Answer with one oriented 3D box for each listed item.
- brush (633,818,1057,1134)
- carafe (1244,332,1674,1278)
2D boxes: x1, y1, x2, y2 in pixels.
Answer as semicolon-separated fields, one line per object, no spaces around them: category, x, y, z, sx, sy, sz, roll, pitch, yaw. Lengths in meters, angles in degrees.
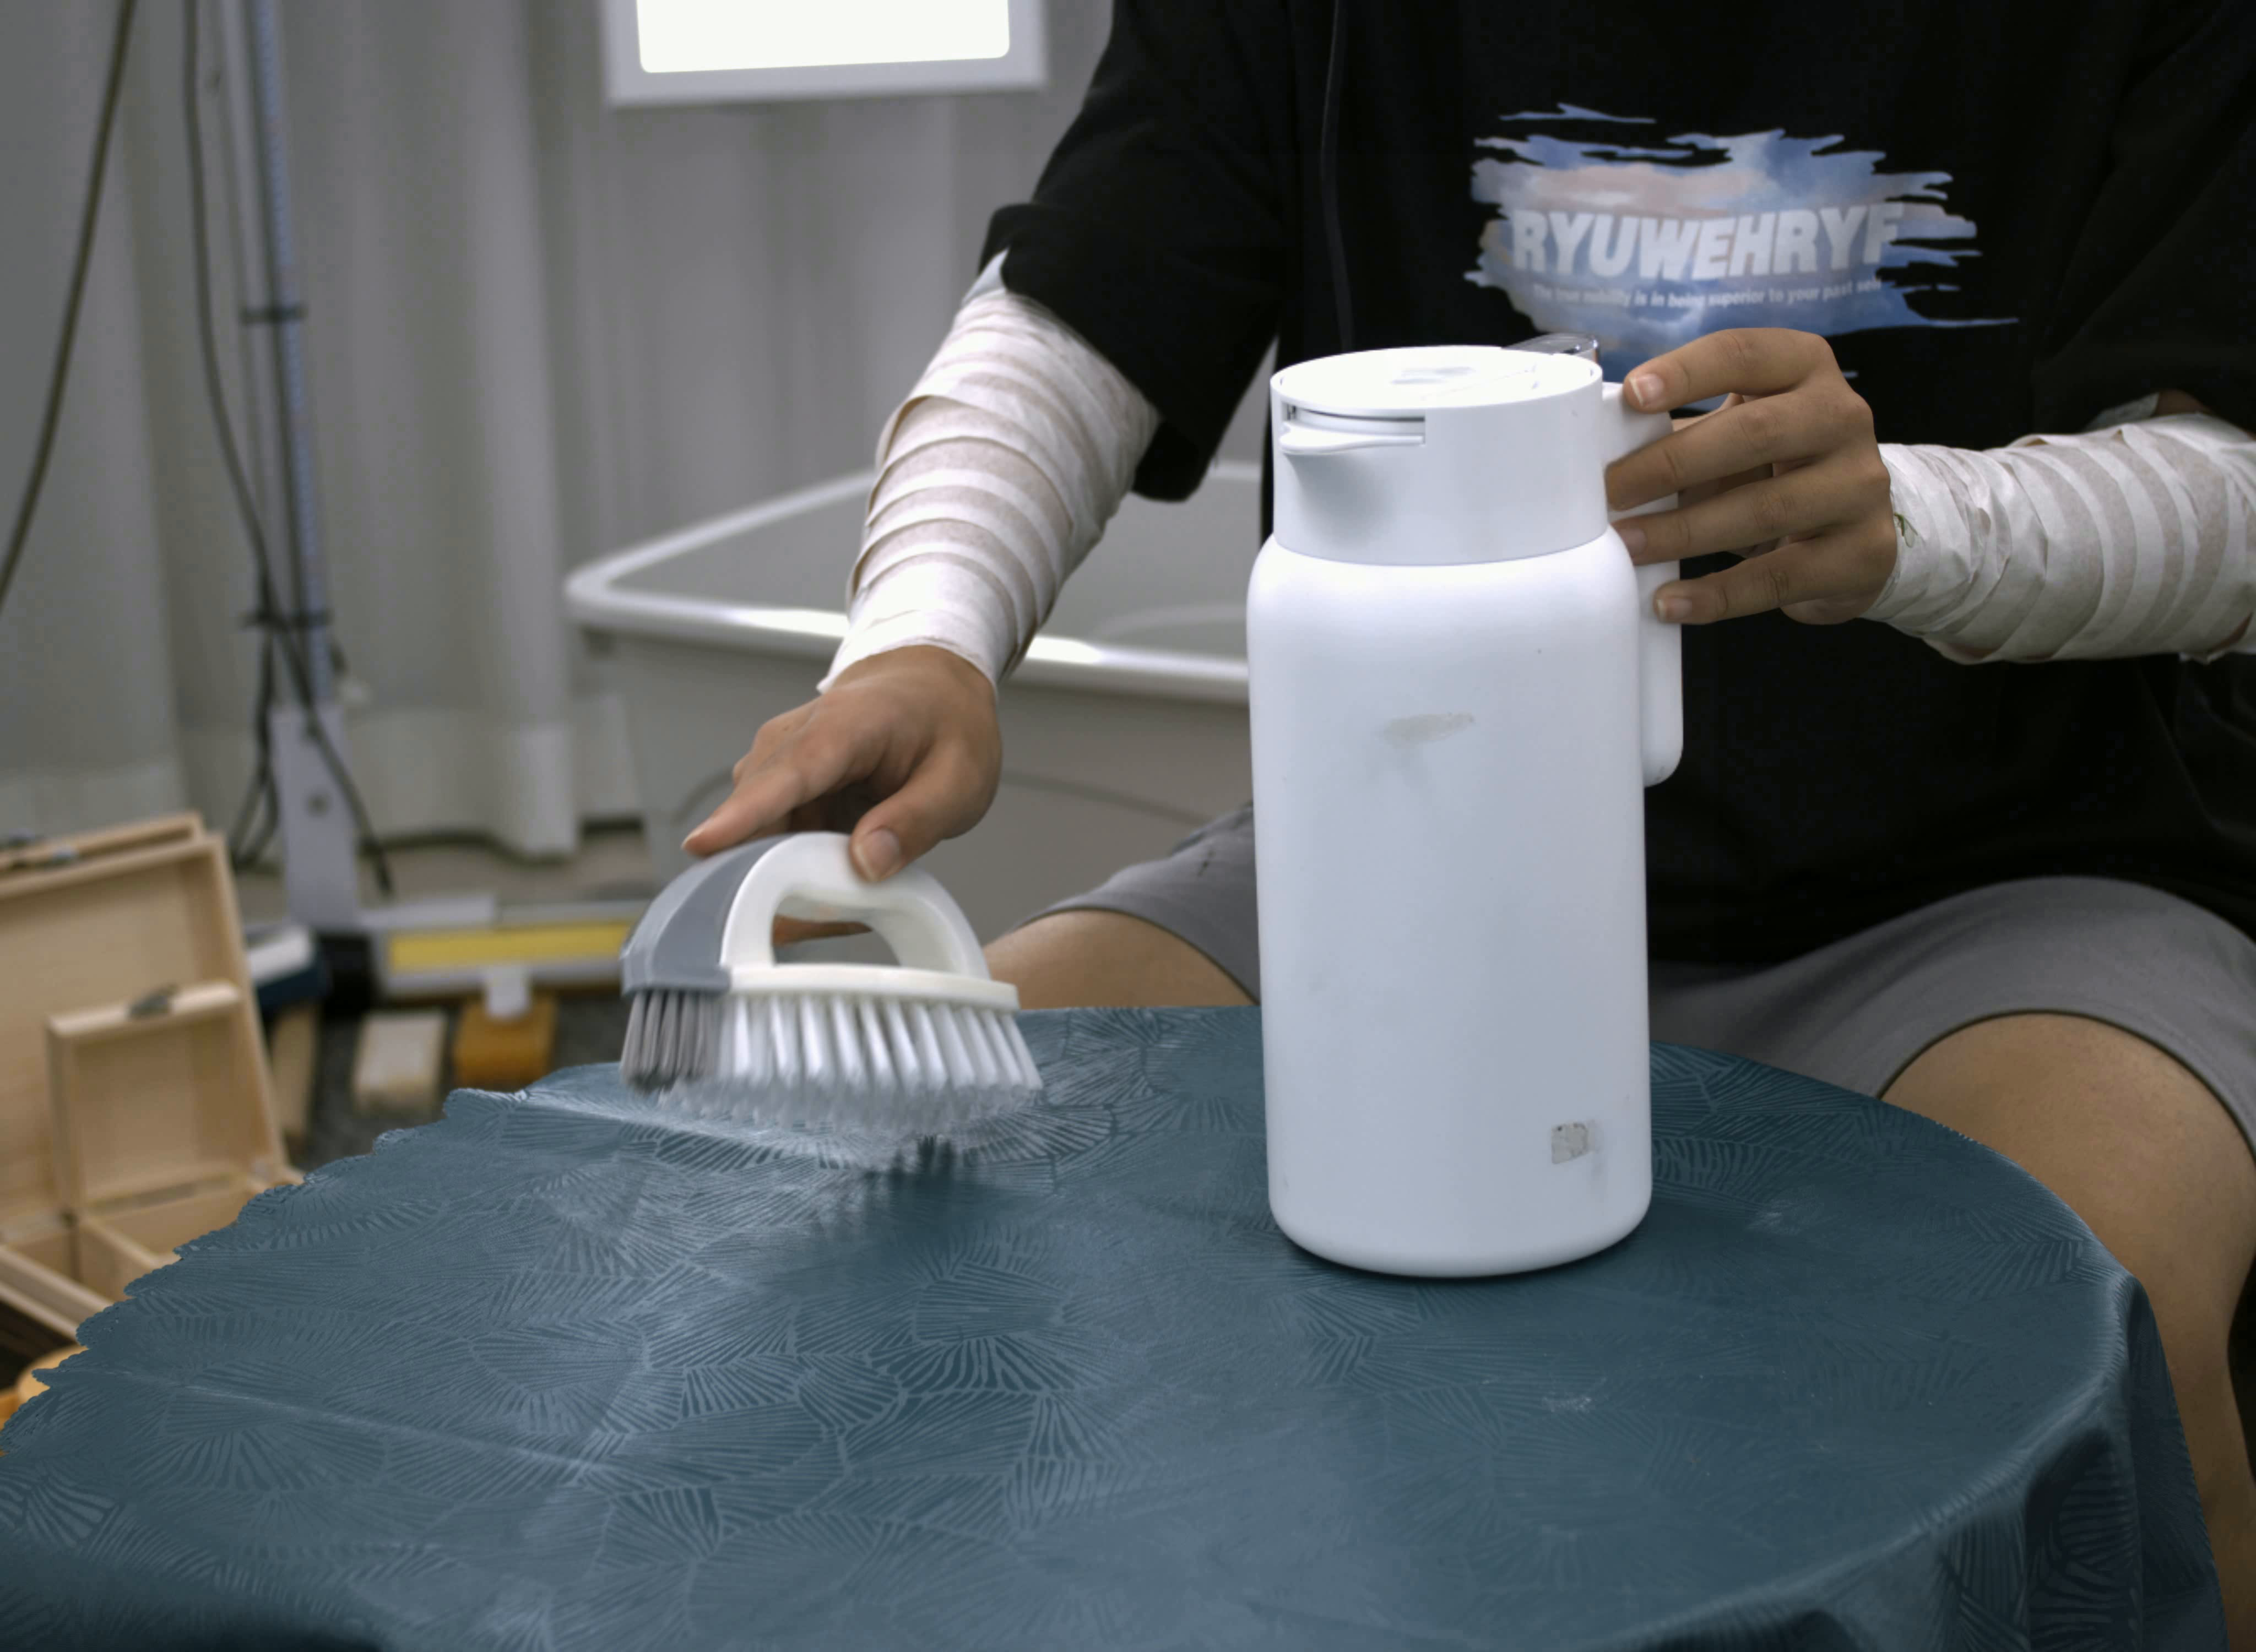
brush;-0.099;0.041;1.709;0.061;0.095;0.174;-26;-20;31
carafe;0.105;-0.011;1.650;0.124;0.268;0.172;5;15;38
